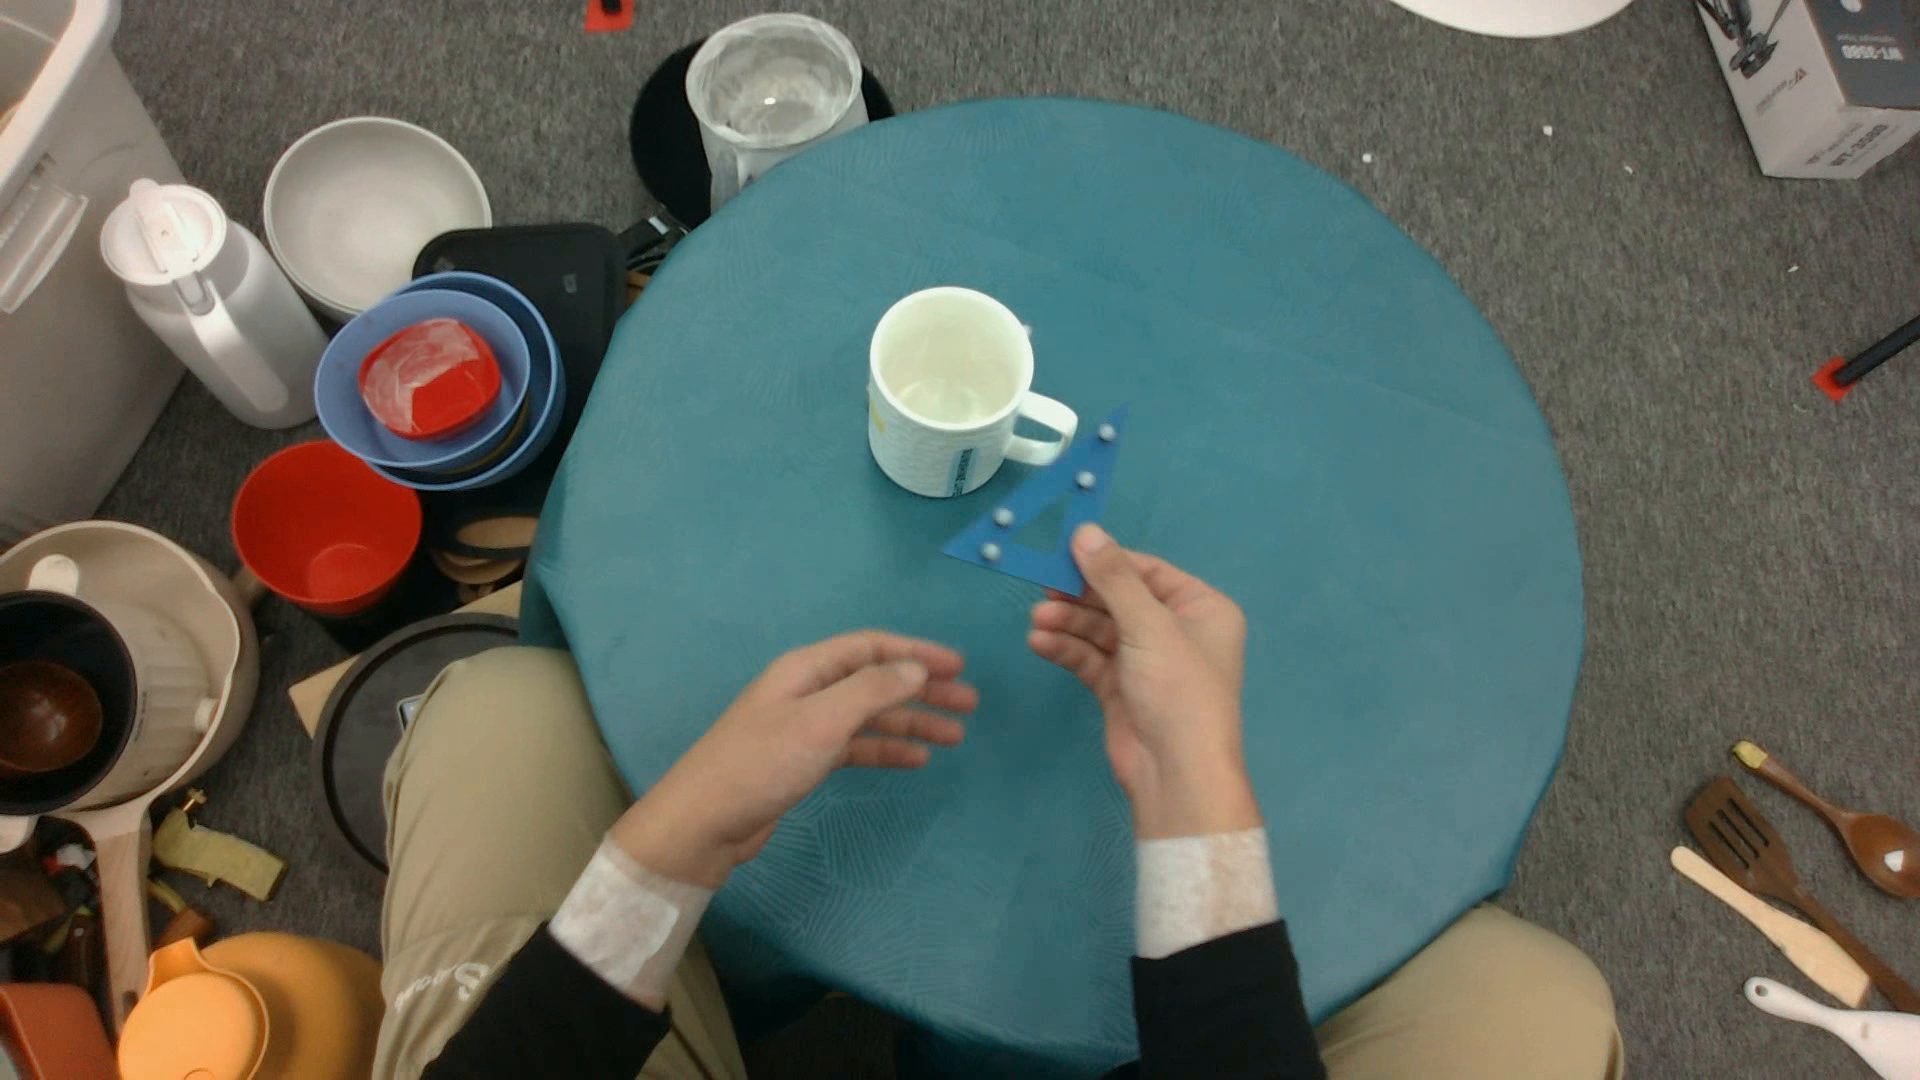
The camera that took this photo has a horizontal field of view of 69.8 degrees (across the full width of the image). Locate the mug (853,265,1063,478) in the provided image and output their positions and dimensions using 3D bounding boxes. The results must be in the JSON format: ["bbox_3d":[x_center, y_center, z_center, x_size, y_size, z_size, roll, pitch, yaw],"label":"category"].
[{"bbox_3d":[-0.002,-0.084,0.765,0.118,0.101,0.085,22,69,2],"label":"mug"}]

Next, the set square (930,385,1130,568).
[{"bbox_3d":[0.051,-0.028,0.669,0.132,0.006,0.061,-36,75,-27],"label":"set square"}]
